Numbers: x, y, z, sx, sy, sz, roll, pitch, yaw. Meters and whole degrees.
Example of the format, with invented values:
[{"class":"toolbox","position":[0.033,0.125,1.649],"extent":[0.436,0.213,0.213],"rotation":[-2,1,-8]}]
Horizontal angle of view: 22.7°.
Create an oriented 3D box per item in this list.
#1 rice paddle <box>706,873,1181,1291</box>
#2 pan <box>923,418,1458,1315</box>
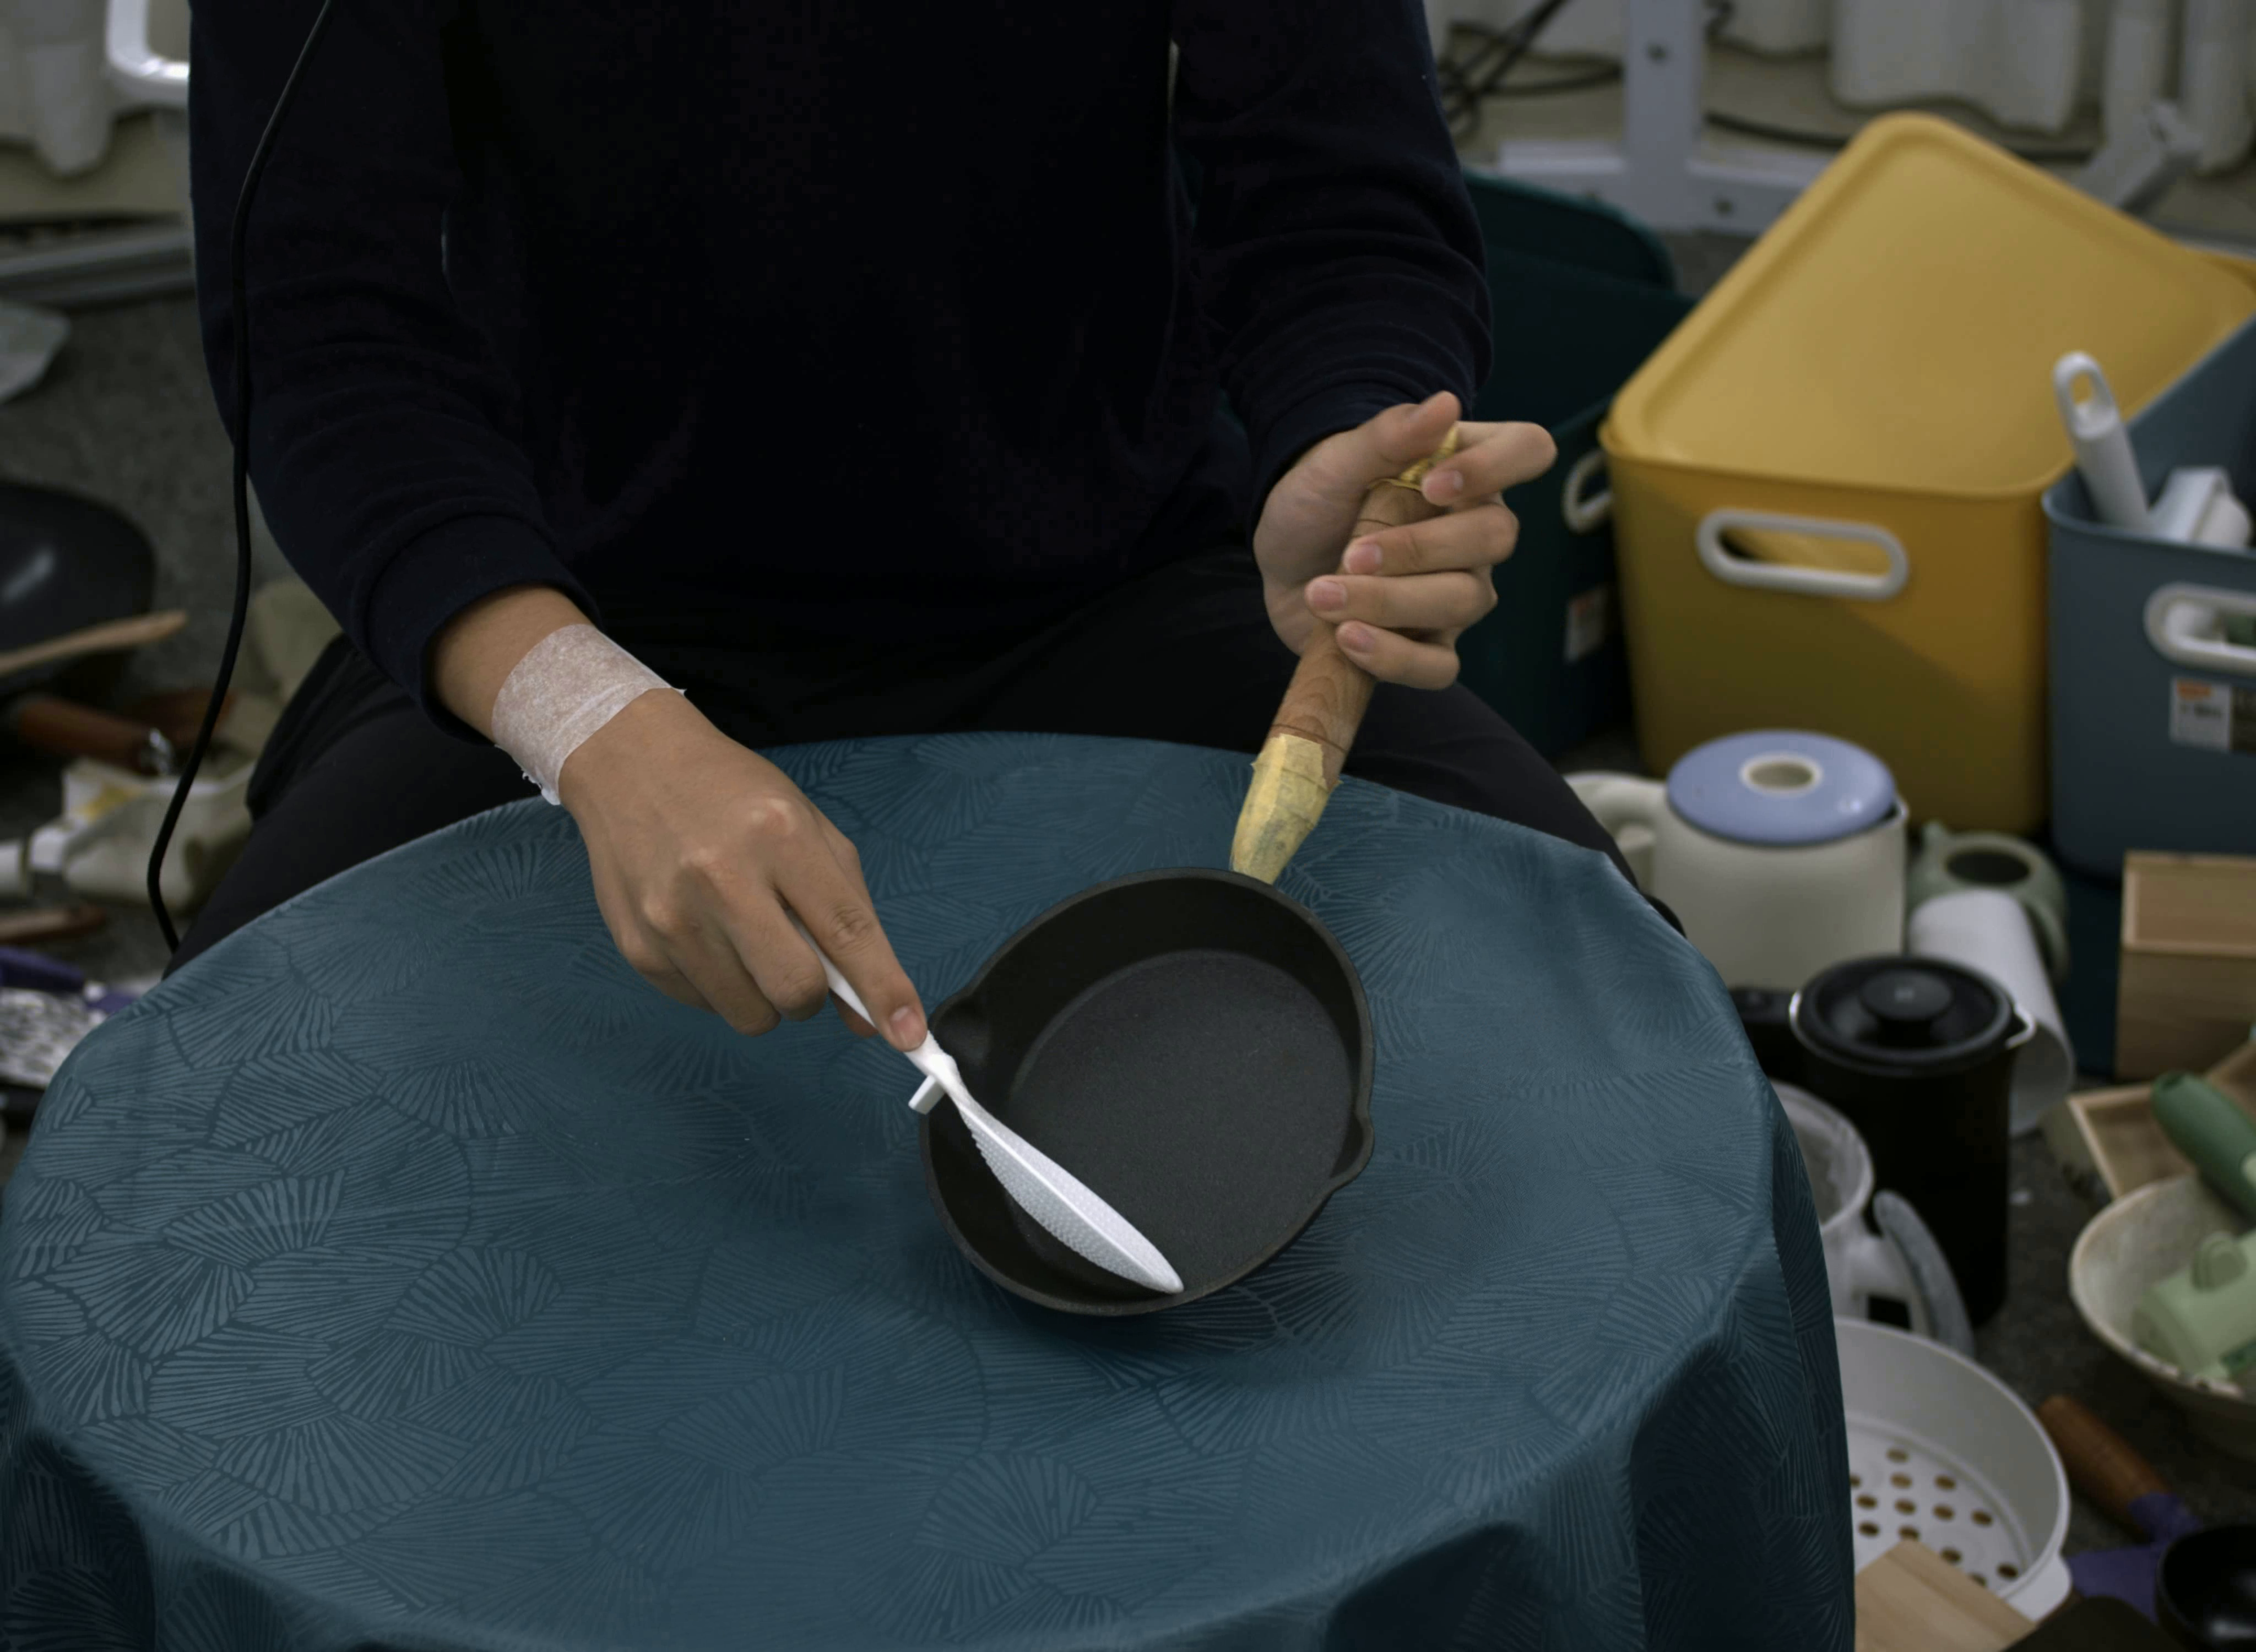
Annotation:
[{"class":"rice paddle","position":[-0.055,0.085,1.809],"extent":[0.206,0.029,0.068],"rotation":[39,3,25]},{"class":"pan","position":[0.045,0.014,1.833],"extent":[0.168,0.049,0.328],"rotation":[17,71,31]}]
